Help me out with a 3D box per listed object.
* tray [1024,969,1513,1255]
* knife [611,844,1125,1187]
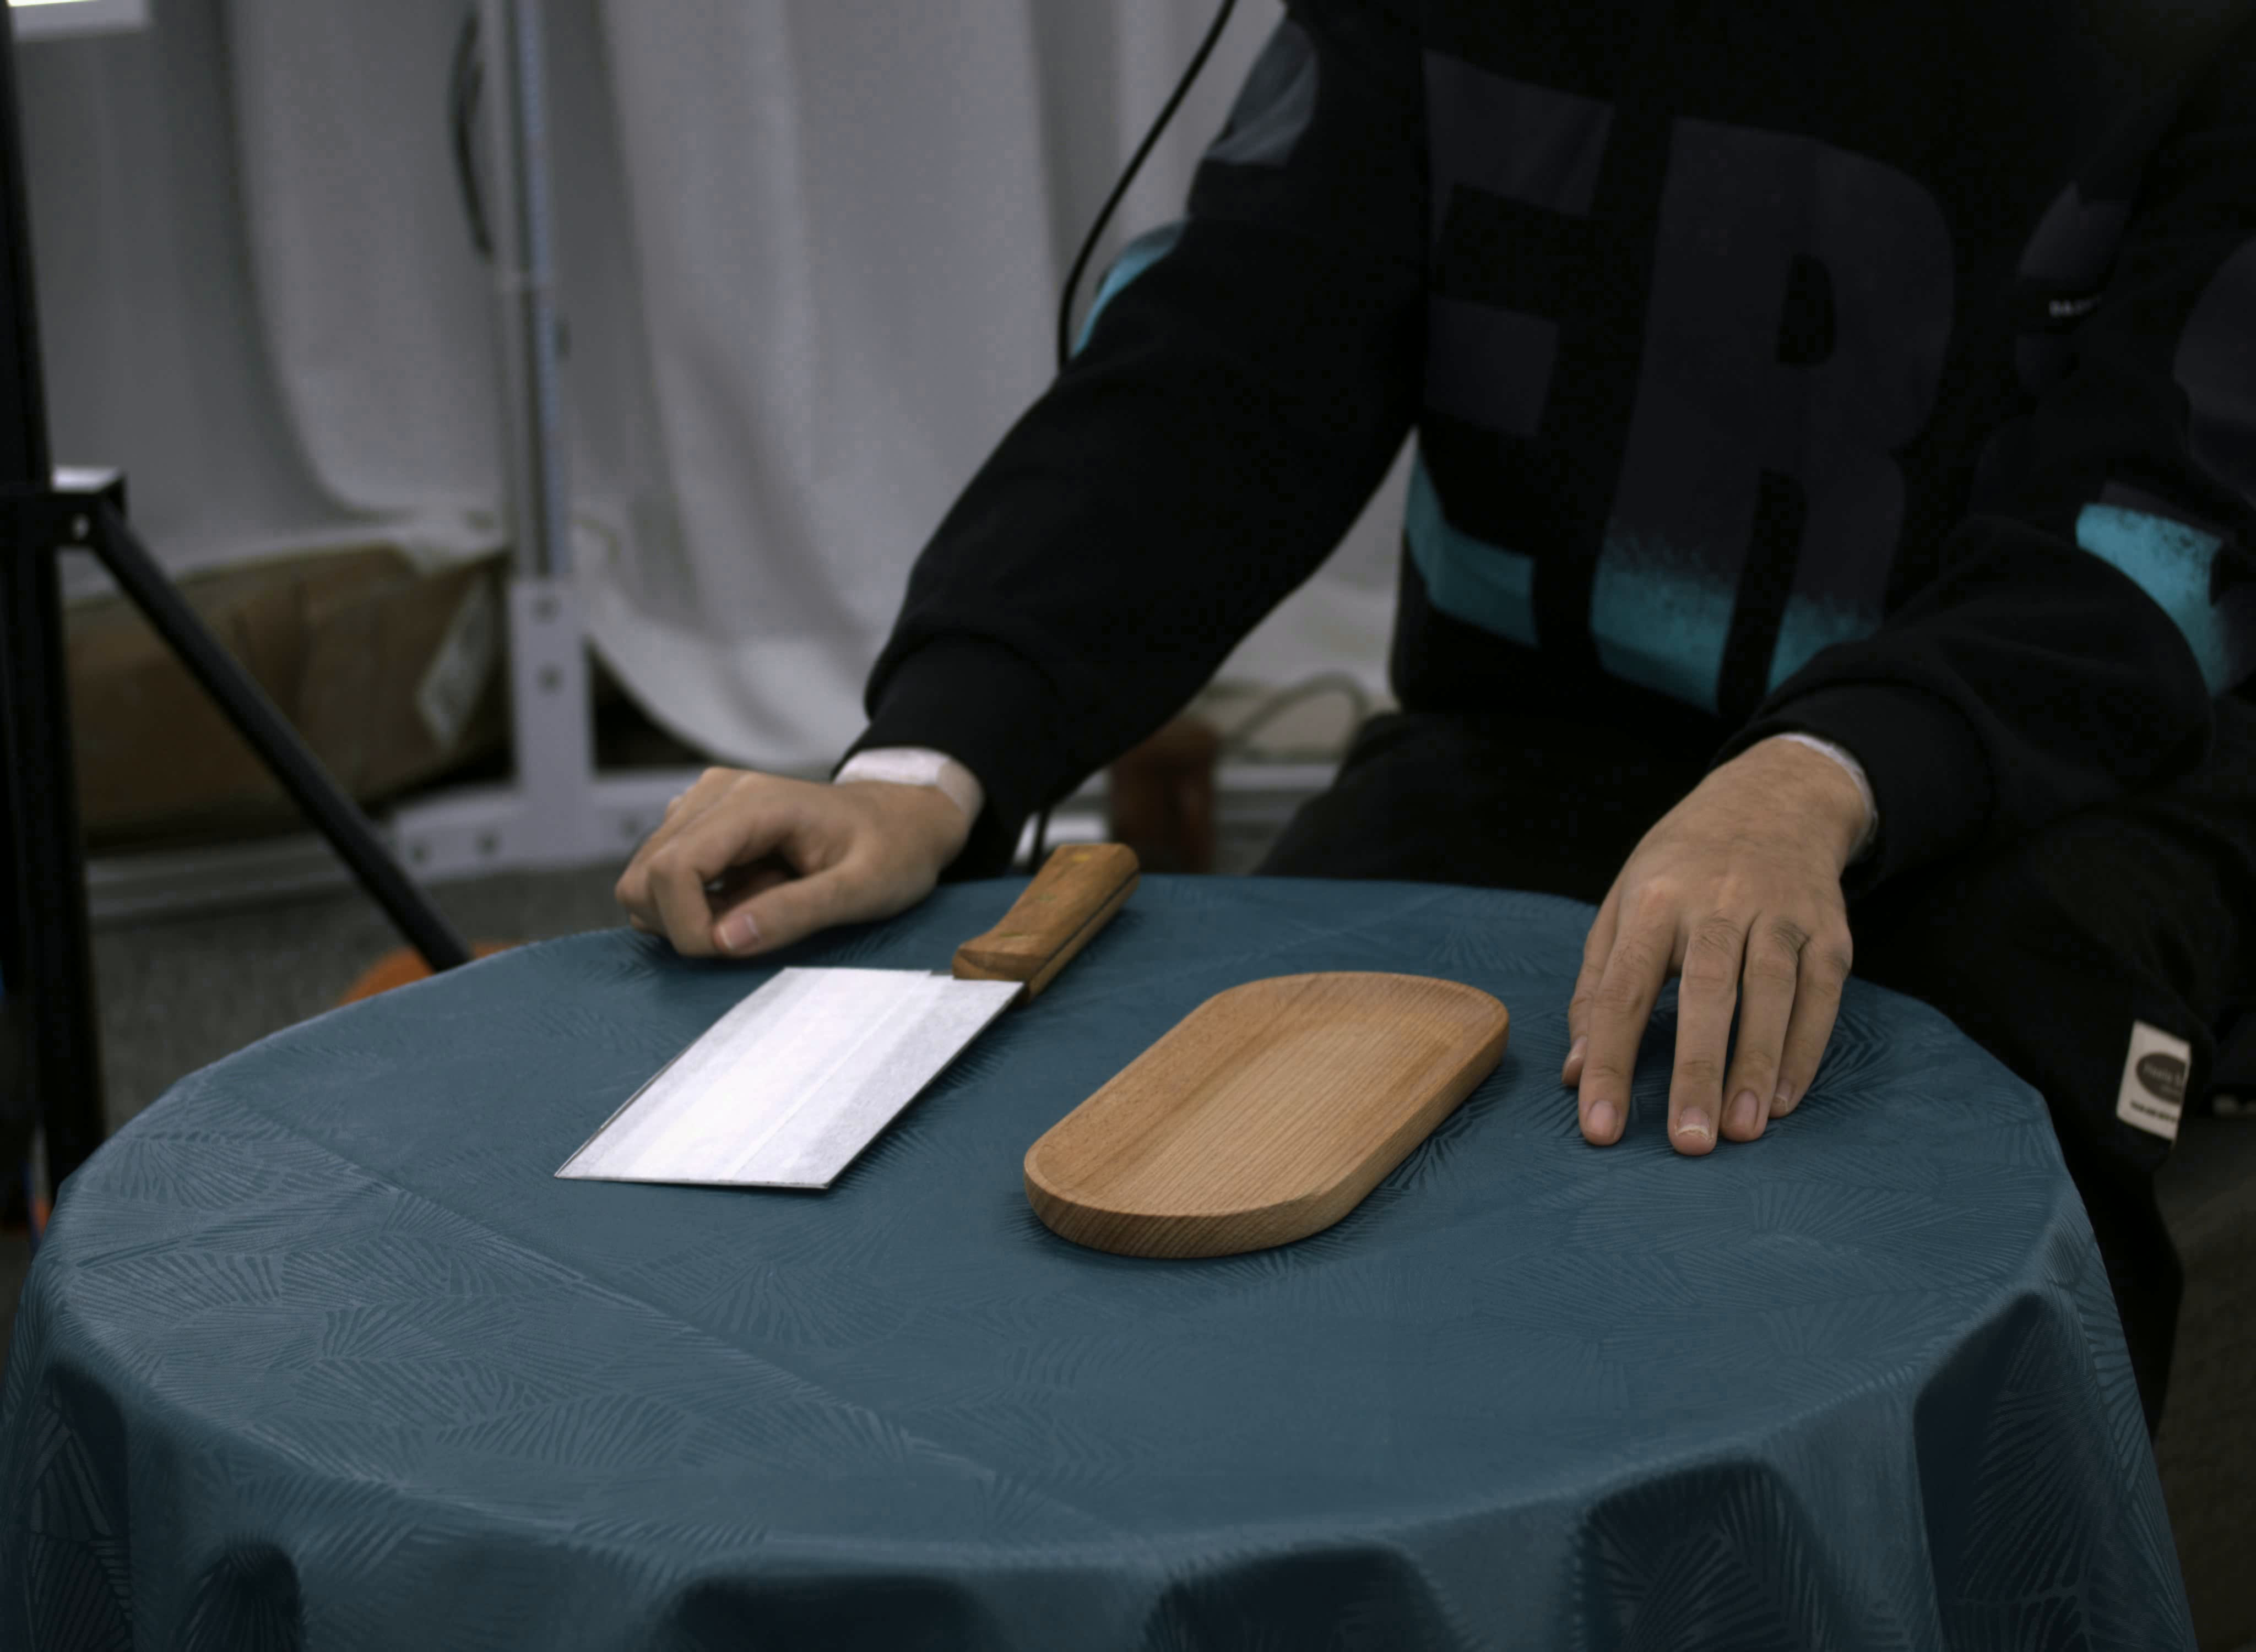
[{"bbox_3d":[0.045,0.084,1.603,0.103,0.020,0.228,5,17,23],"label":"tray"},{"bbox_3d":[-0.082,0.060,1.715,0.094,0.021,0.303,0,18,19],"label":"knife"}]
